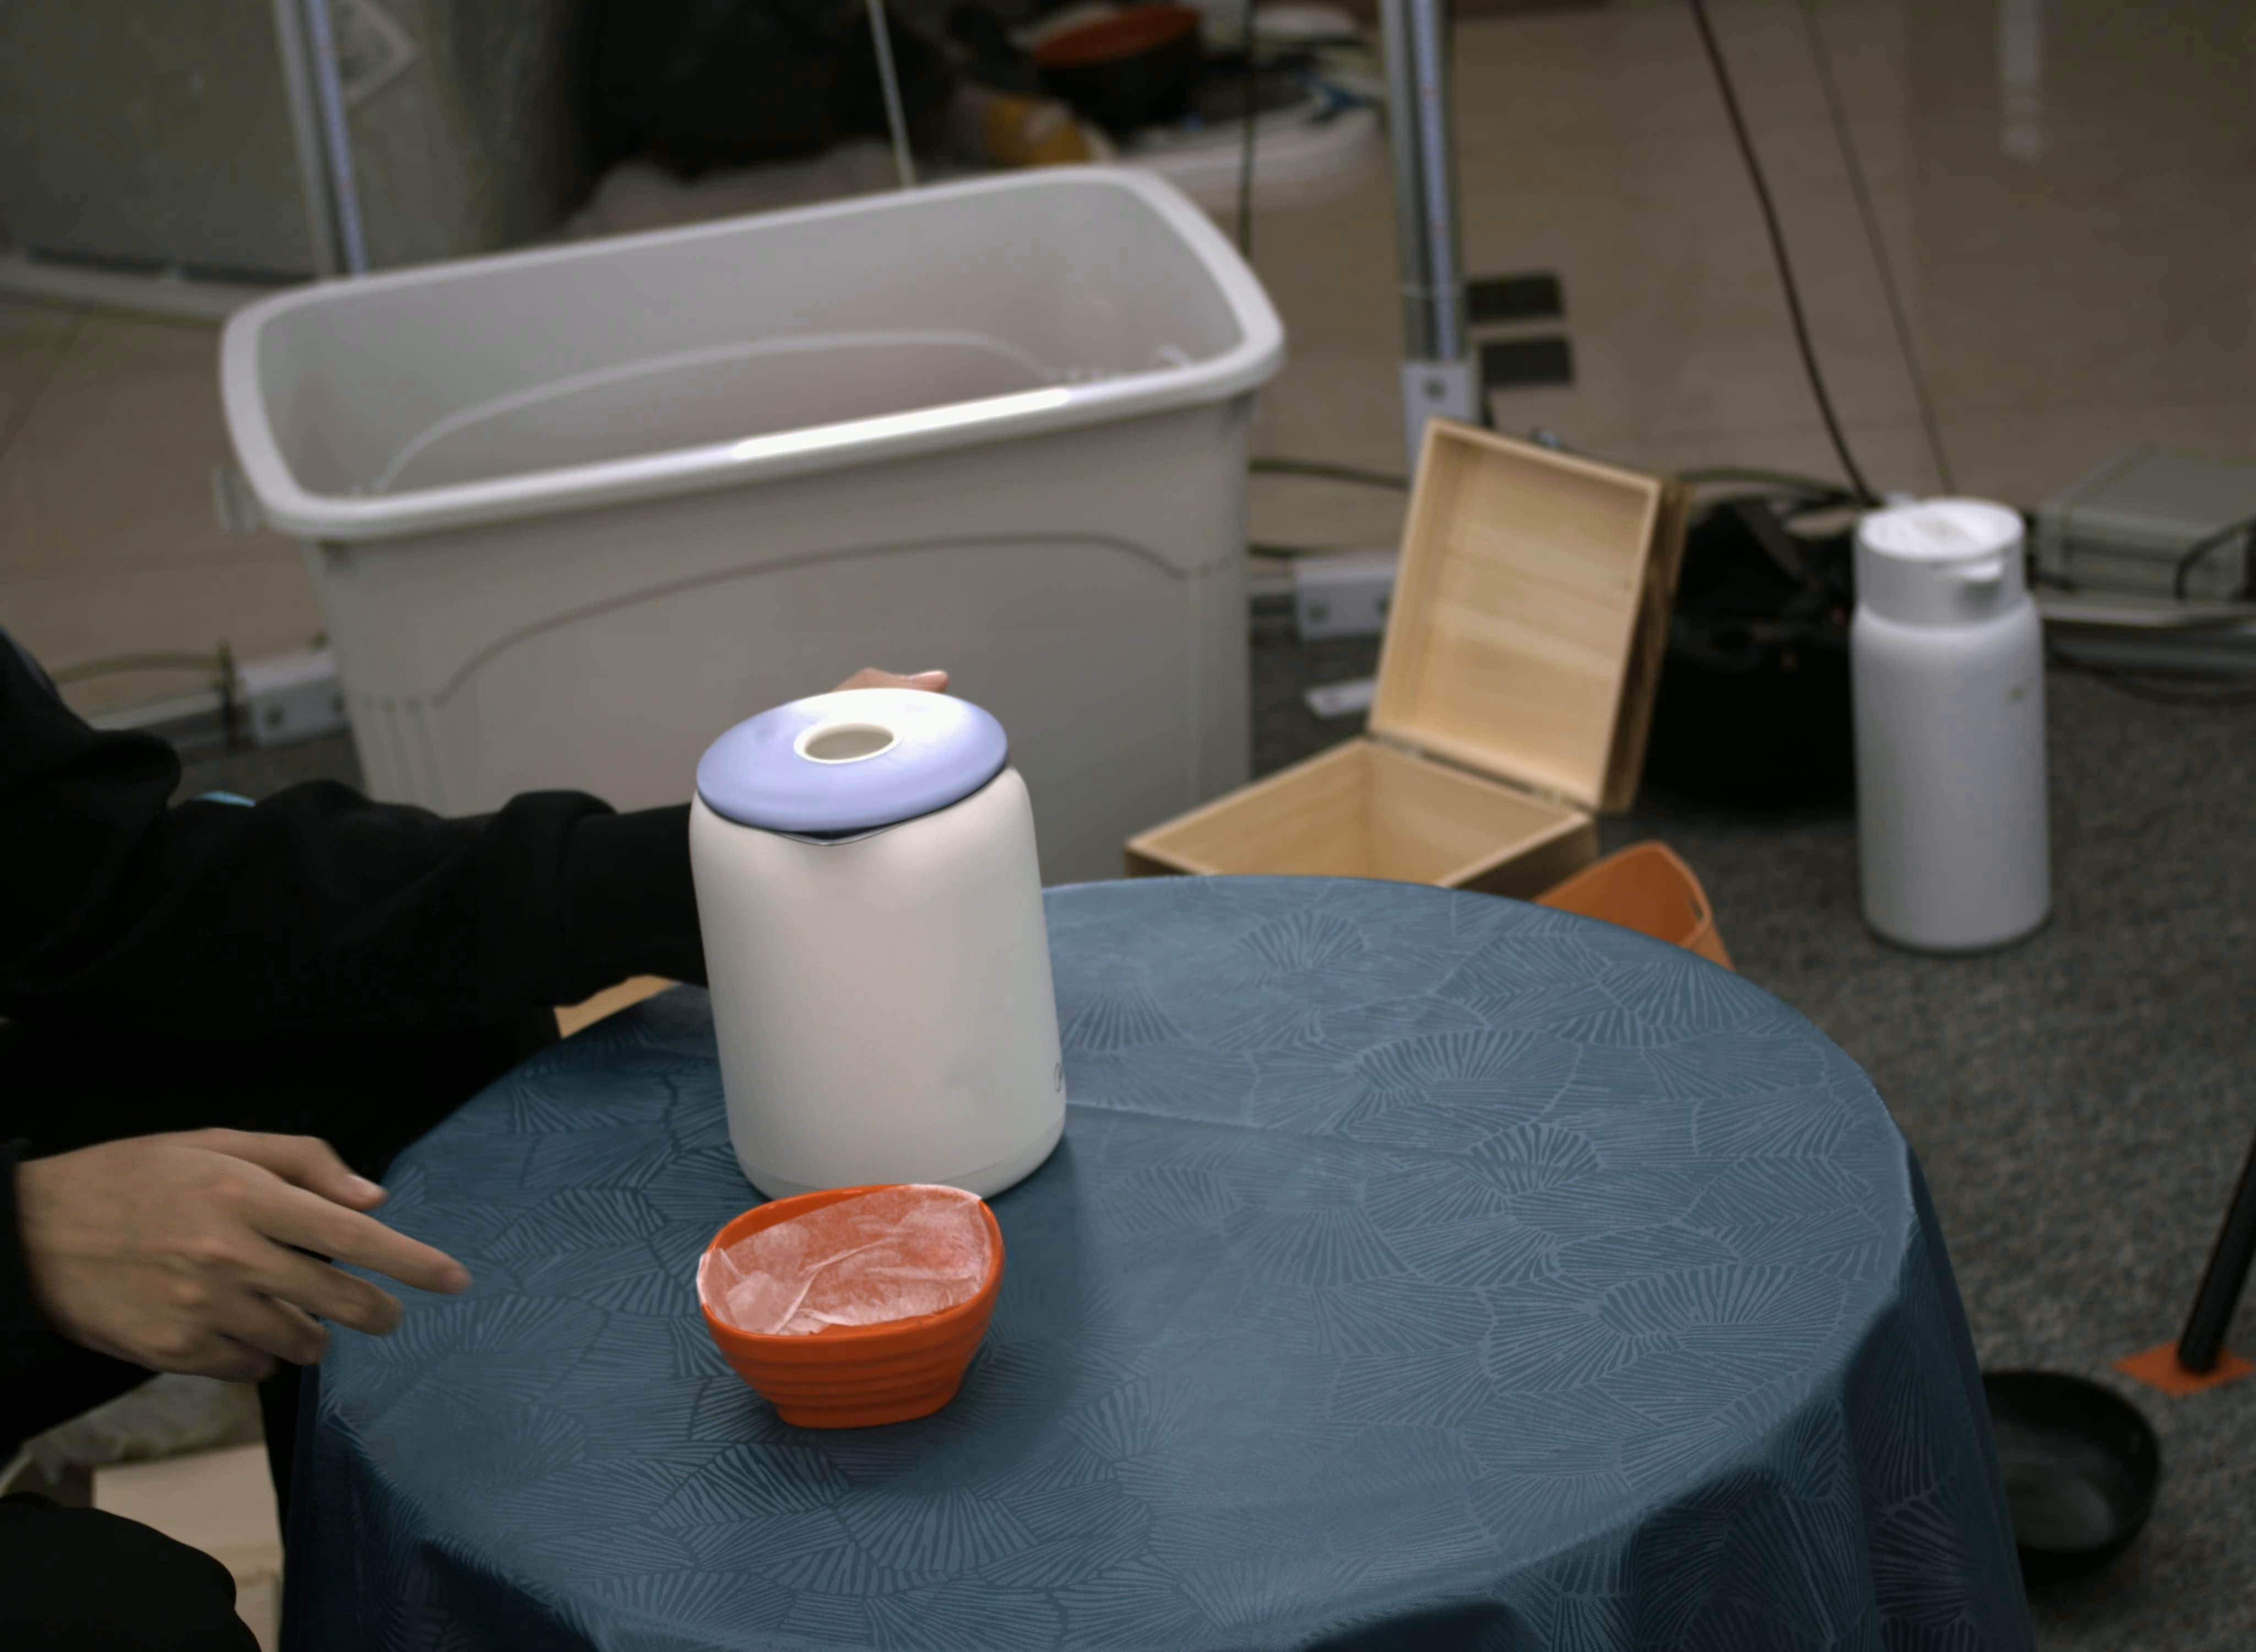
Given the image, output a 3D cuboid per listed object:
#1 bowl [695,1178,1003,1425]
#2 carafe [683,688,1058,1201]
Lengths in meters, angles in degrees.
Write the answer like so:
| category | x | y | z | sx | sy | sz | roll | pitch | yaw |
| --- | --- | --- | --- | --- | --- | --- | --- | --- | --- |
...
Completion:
| category | x | y | z | sx | sy | sz | roll | pitch | yaw |
| --- | --- | --- | --- | --- | --- | --- | --- | --- | --- |
| bowl | -0.098 | 0.175 | 2.028 | 0.119 | 0.052 | 0.117 | -3 | 27 | 2 |
| carafe | -0.097 | 0.039 | 2.178 | 0.132 | 0.185 | 0.188 | -3 | 23 | 3 |
